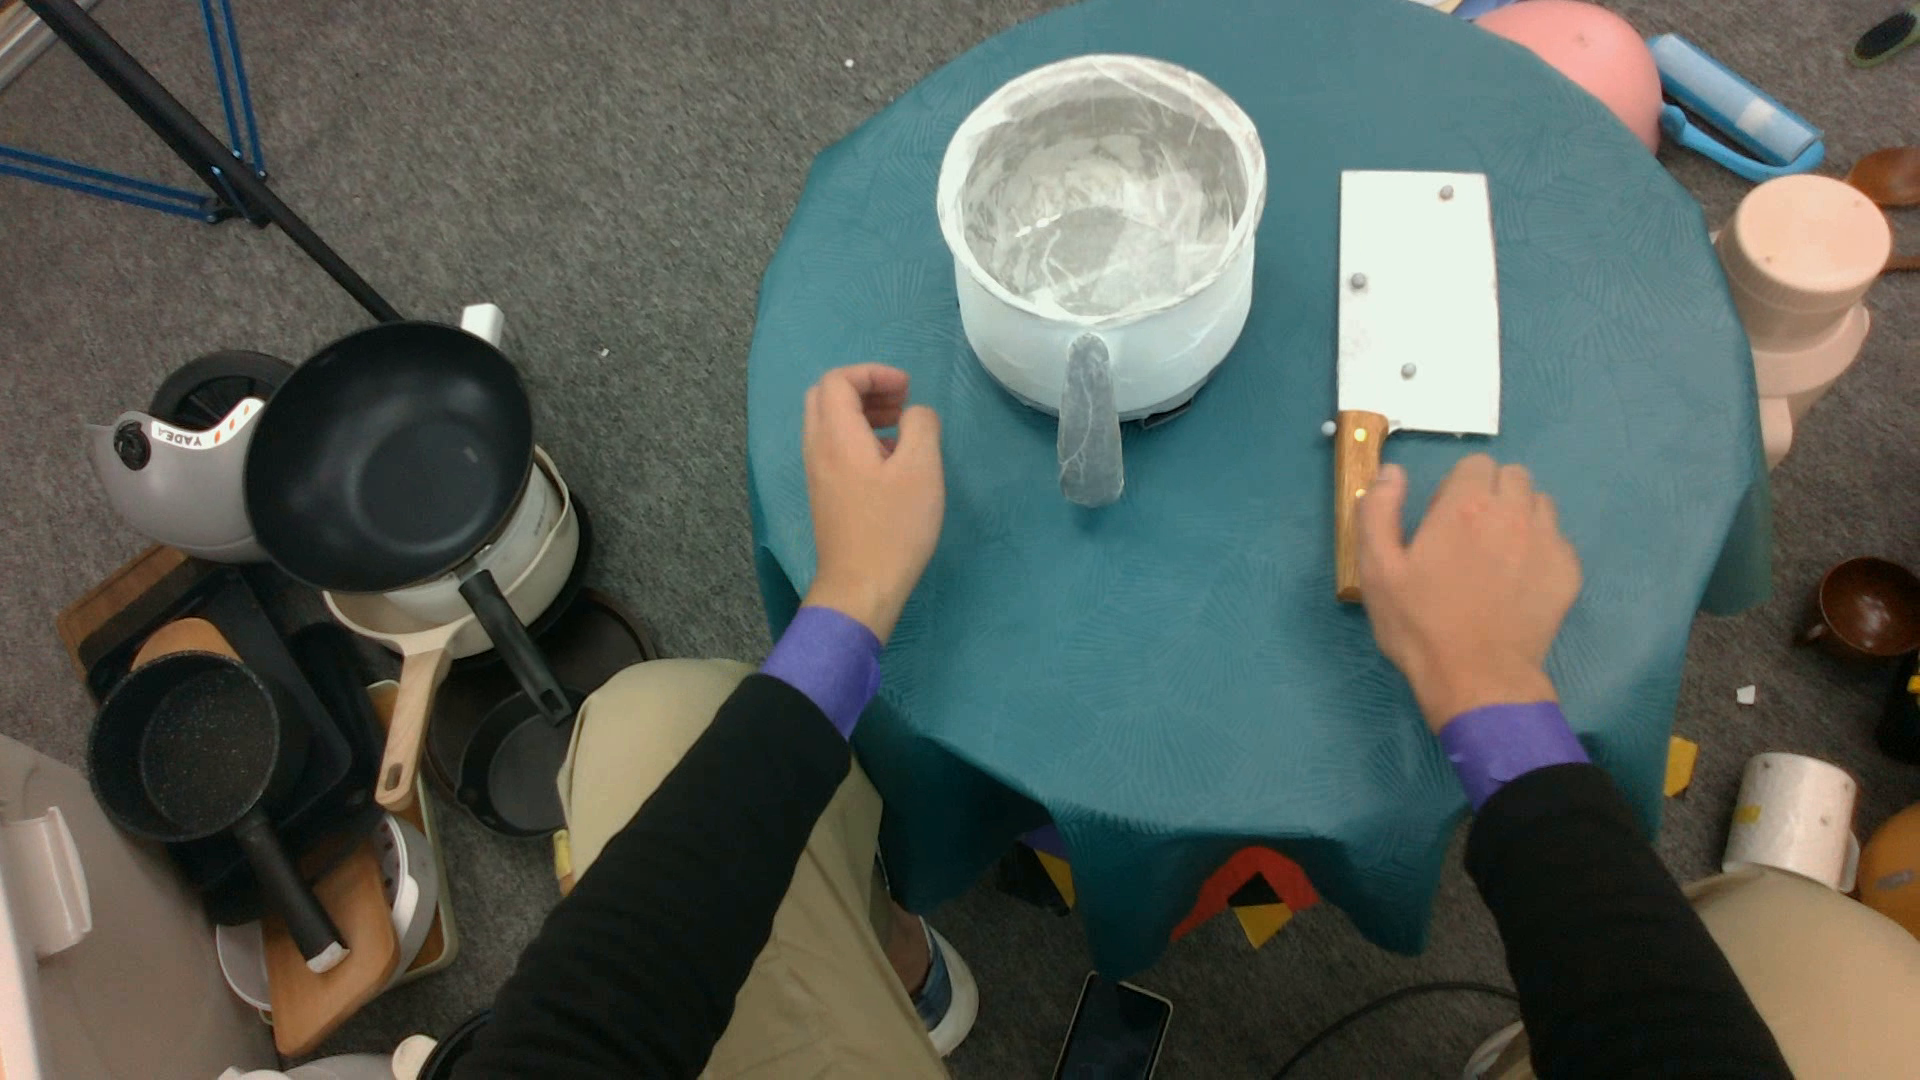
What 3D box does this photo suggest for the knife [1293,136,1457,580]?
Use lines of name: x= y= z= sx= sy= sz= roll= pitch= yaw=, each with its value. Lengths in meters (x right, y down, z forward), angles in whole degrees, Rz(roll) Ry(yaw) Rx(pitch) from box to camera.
knife: x=0.245 y=-0.117 z=0.815 sx=0.093 sy=0.021 sz=0.307 roll=3 pitch=66 yaw=8

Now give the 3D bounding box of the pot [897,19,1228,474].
pot: x=0.060 y=-0.161 z=0.785 sx=0.178 sy=0.136 sz=0.234 roll=0 pitch=67 yaw=7
